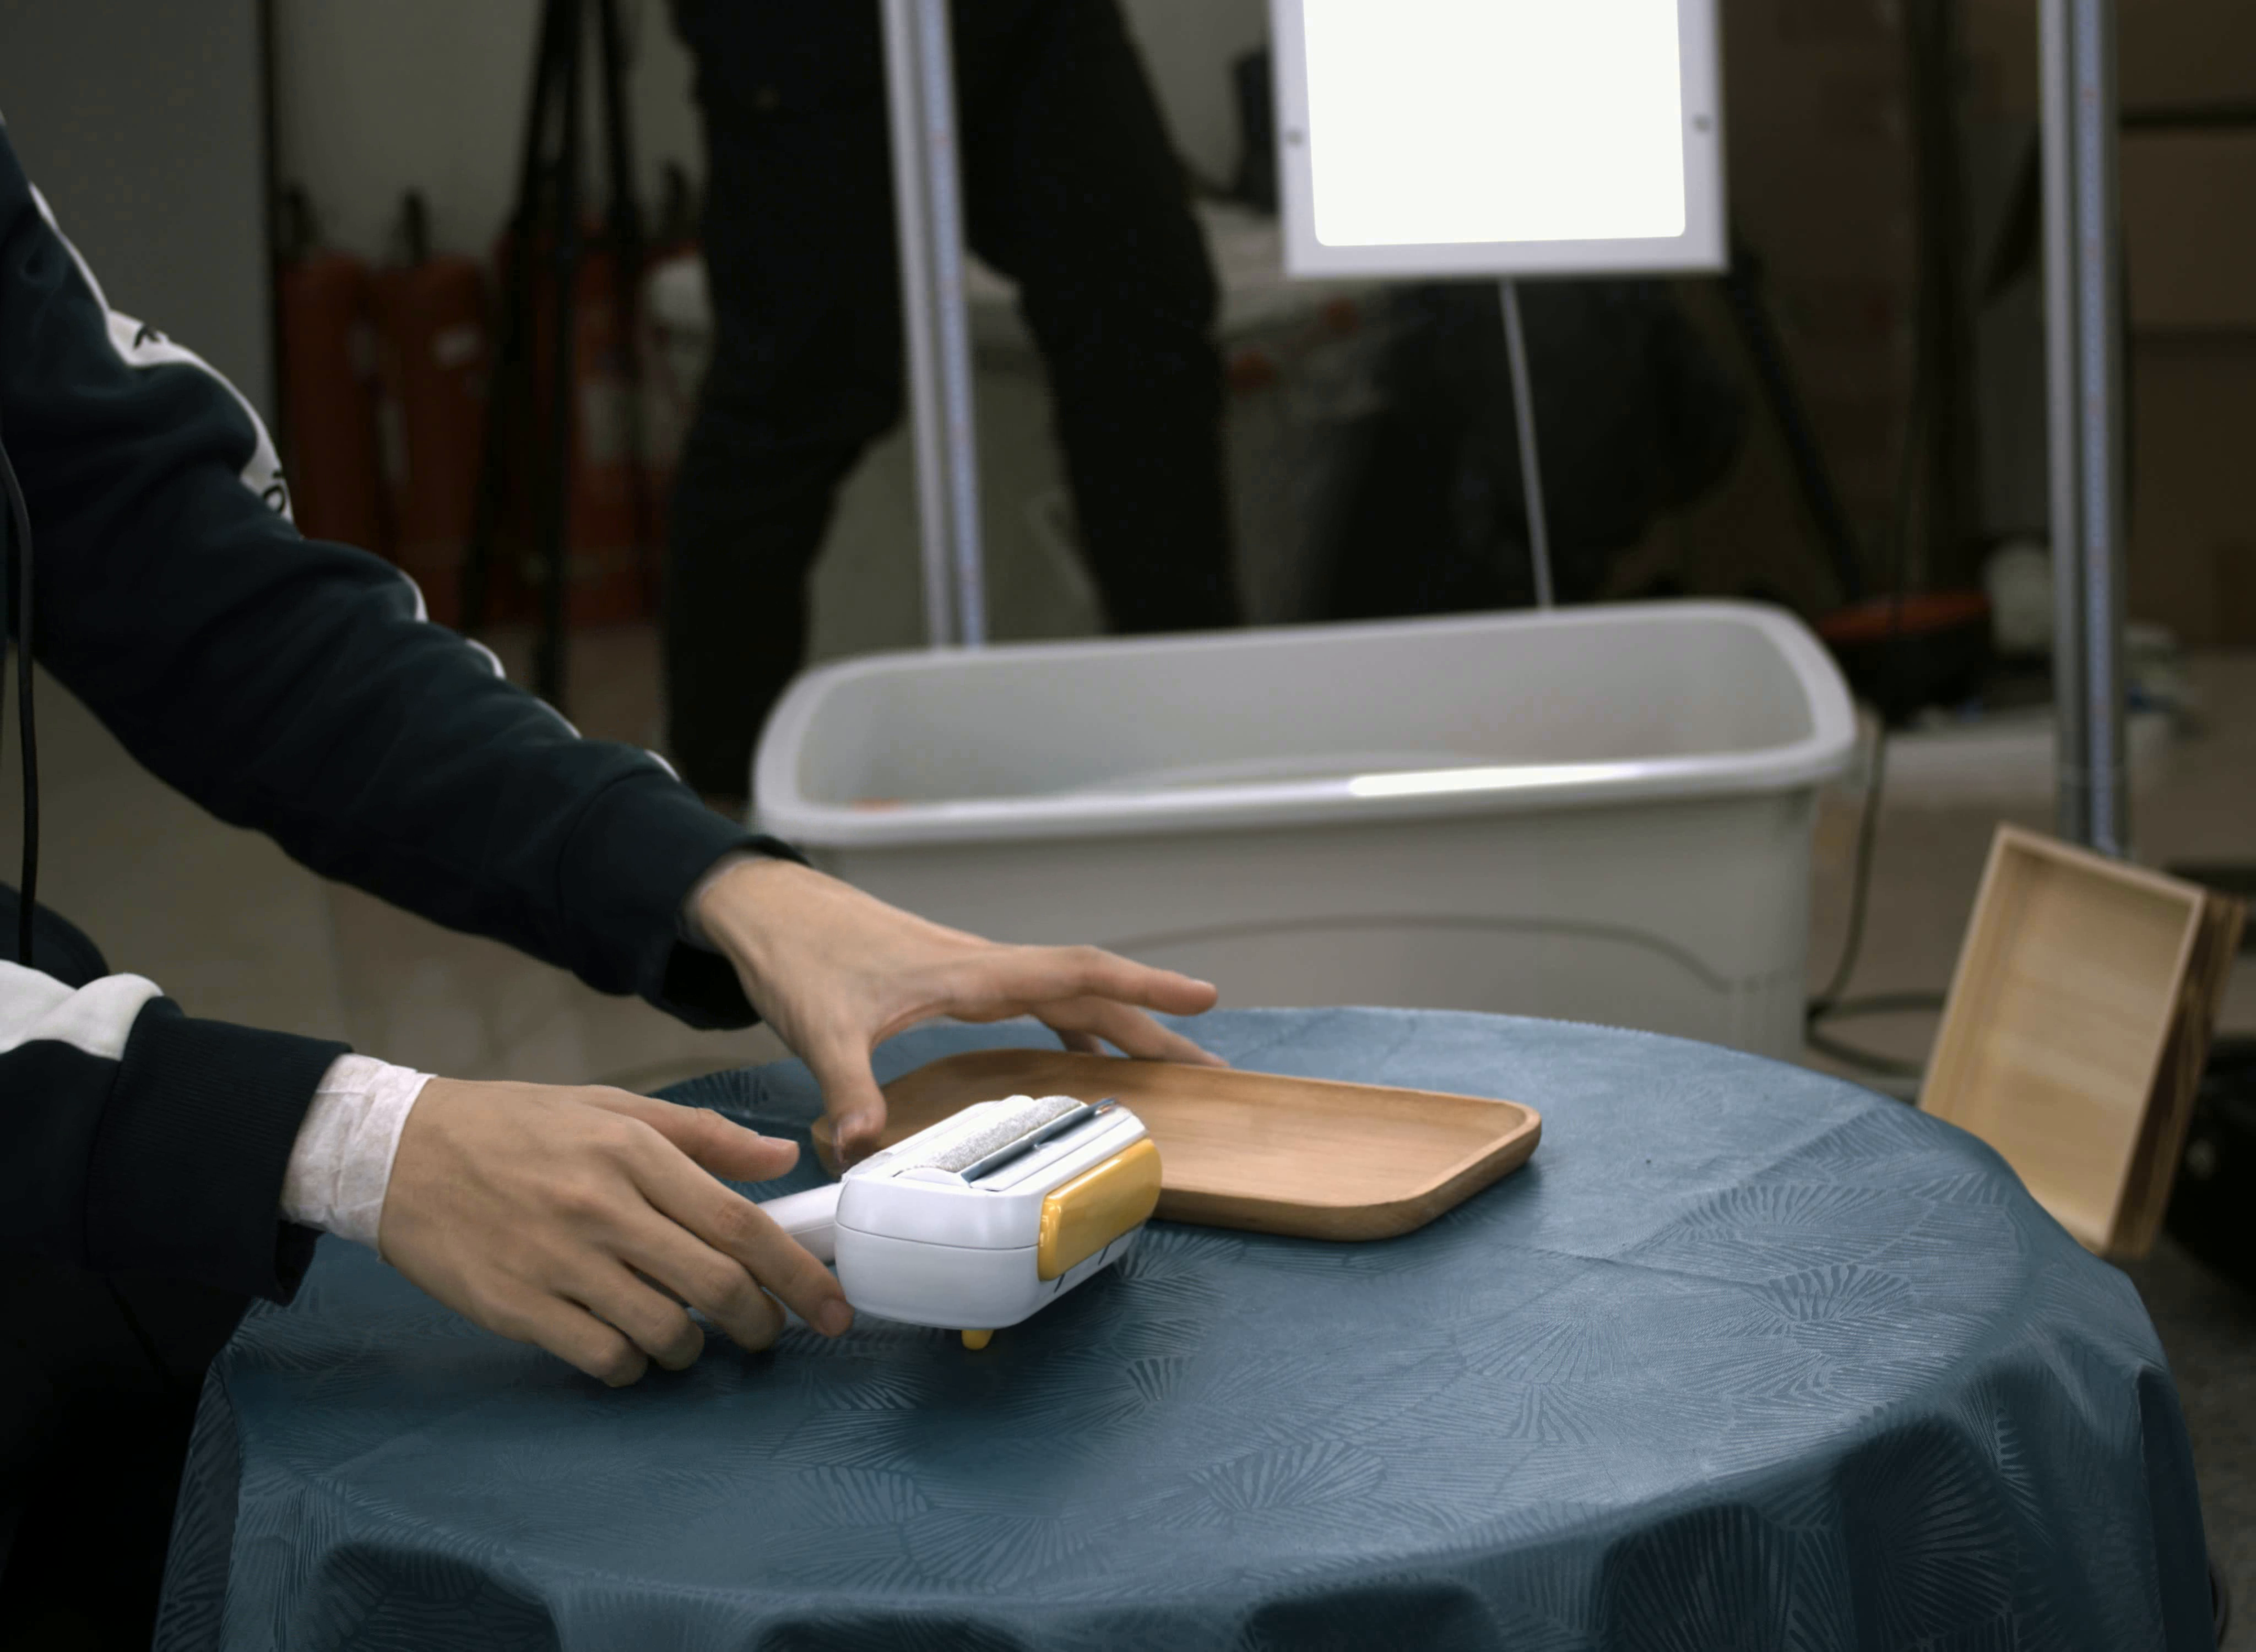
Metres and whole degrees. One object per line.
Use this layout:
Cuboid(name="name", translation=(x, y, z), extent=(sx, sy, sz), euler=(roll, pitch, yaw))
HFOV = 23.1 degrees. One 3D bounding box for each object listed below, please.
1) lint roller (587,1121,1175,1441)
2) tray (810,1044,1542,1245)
Cuboid(name="lint roller", translation=(-0.093, 0.150, 1.771), extent=(0.195, 0.074, 0.189), euler=(-16, 2, 22))
Cuboid(name="tray", translation=(0.016, 0.110, 1.923), extent=(0.256, 0.023, 0.127), euler=(4, 14, 35))
